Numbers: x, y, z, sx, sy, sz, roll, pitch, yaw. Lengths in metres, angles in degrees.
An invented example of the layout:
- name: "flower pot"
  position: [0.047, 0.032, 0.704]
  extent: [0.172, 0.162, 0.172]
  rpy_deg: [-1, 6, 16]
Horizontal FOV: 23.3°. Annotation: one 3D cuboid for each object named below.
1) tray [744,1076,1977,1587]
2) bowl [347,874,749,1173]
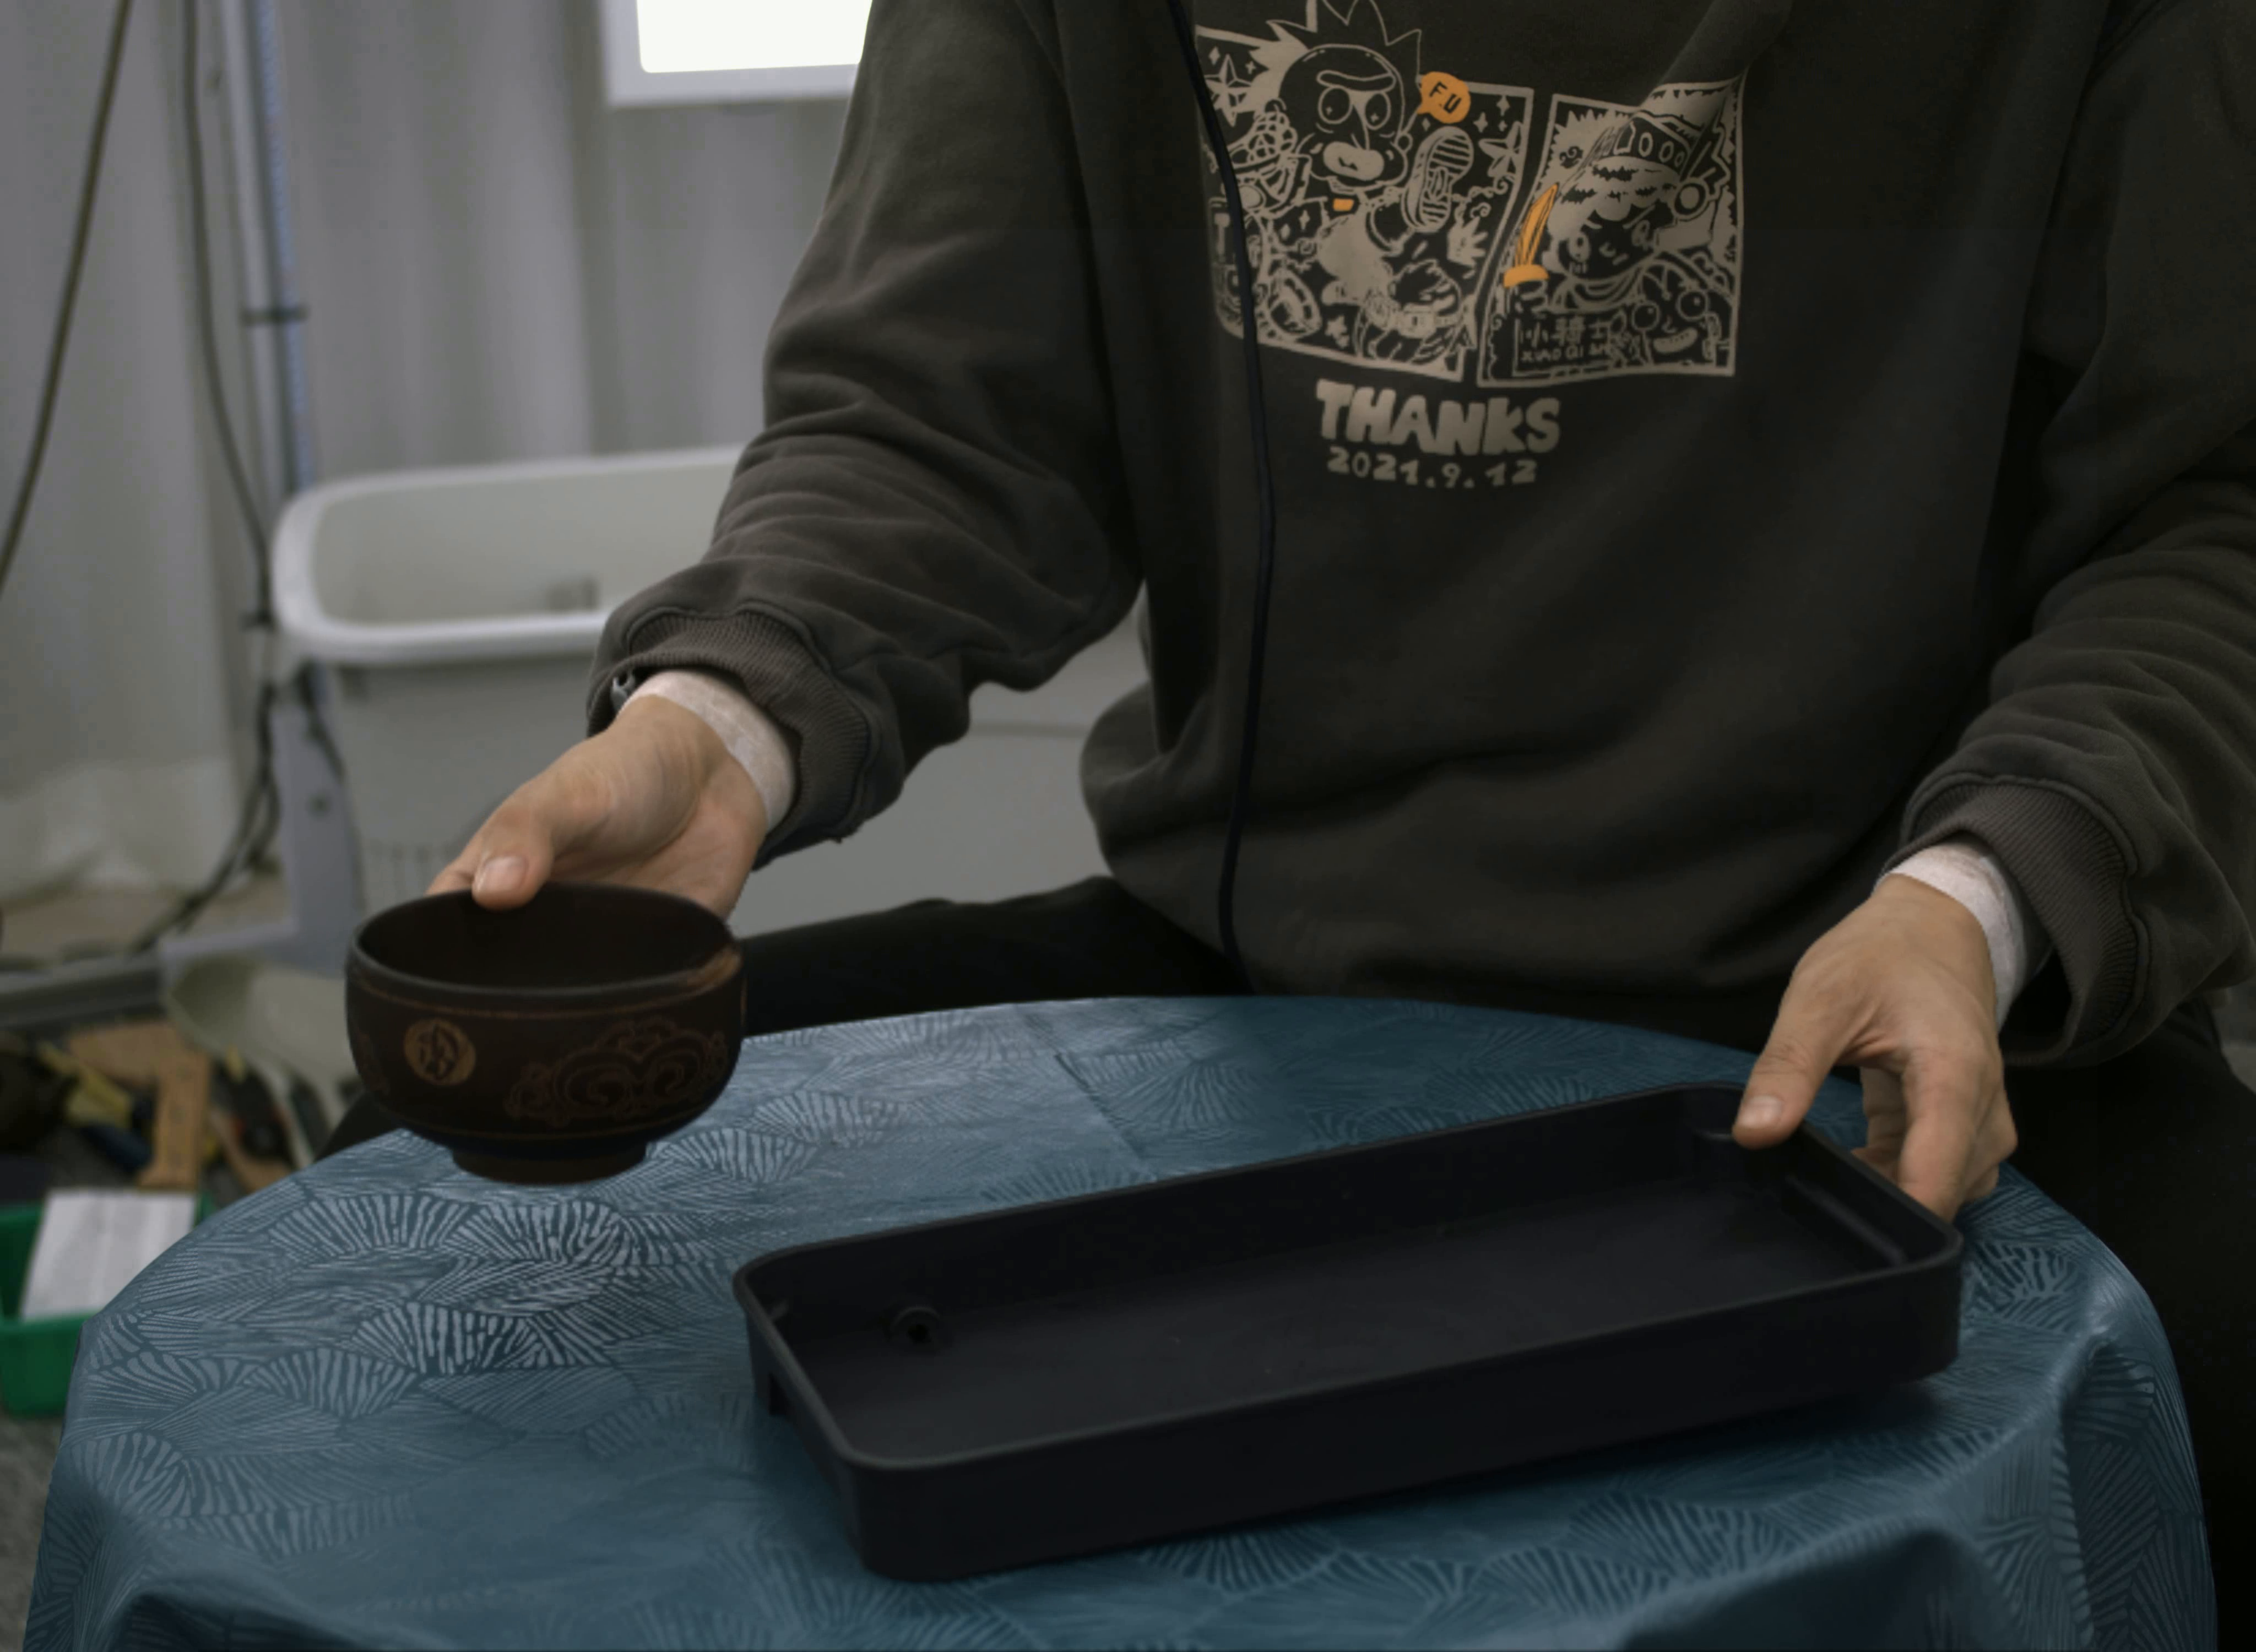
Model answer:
- name: "tray"
  position: [0.063, 0.137, 1.534]
  extent: [0.317, 0.037, 0.185]
  rpy_deg: [-11, 15, -15]
- name: "bowl"
  position: [-0.171, 0.062, 1.615]
  extent: [0.117, 0.069, 0.119]
  rpy_deg: [0, 13, 0]
